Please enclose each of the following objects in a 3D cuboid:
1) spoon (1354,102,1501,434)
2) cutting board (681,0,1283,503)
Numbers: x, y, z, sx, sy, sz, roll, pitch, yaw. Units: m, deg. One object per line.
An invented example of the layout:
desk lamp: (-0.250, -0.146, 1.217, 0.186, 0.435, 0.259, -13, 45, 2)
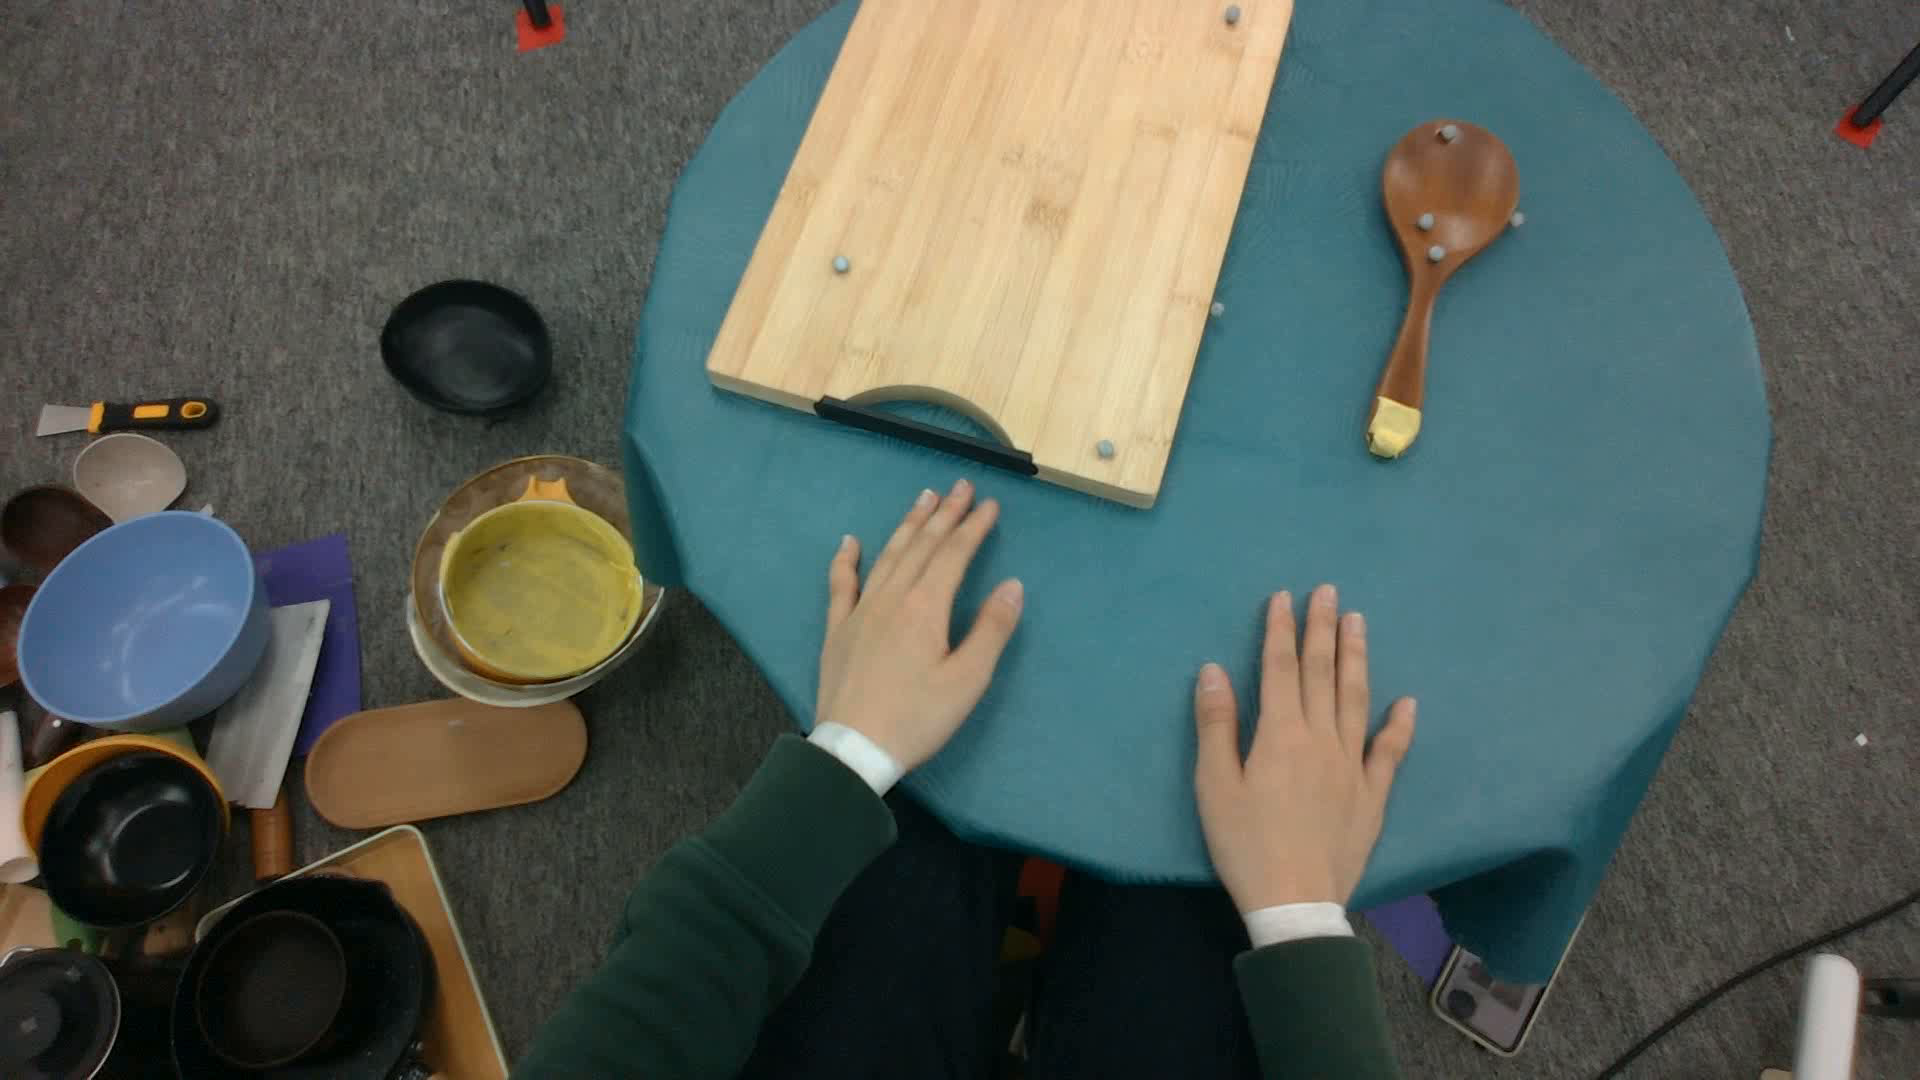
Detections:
spoon: (0.244, -0.150, 0.744, 0.075, 0.017, 0.216, 17, 67, 4)
cutting board: (0.024, -0.204, 0.761, 0.250, 0.023, 0.350, 15, 67, 5)
